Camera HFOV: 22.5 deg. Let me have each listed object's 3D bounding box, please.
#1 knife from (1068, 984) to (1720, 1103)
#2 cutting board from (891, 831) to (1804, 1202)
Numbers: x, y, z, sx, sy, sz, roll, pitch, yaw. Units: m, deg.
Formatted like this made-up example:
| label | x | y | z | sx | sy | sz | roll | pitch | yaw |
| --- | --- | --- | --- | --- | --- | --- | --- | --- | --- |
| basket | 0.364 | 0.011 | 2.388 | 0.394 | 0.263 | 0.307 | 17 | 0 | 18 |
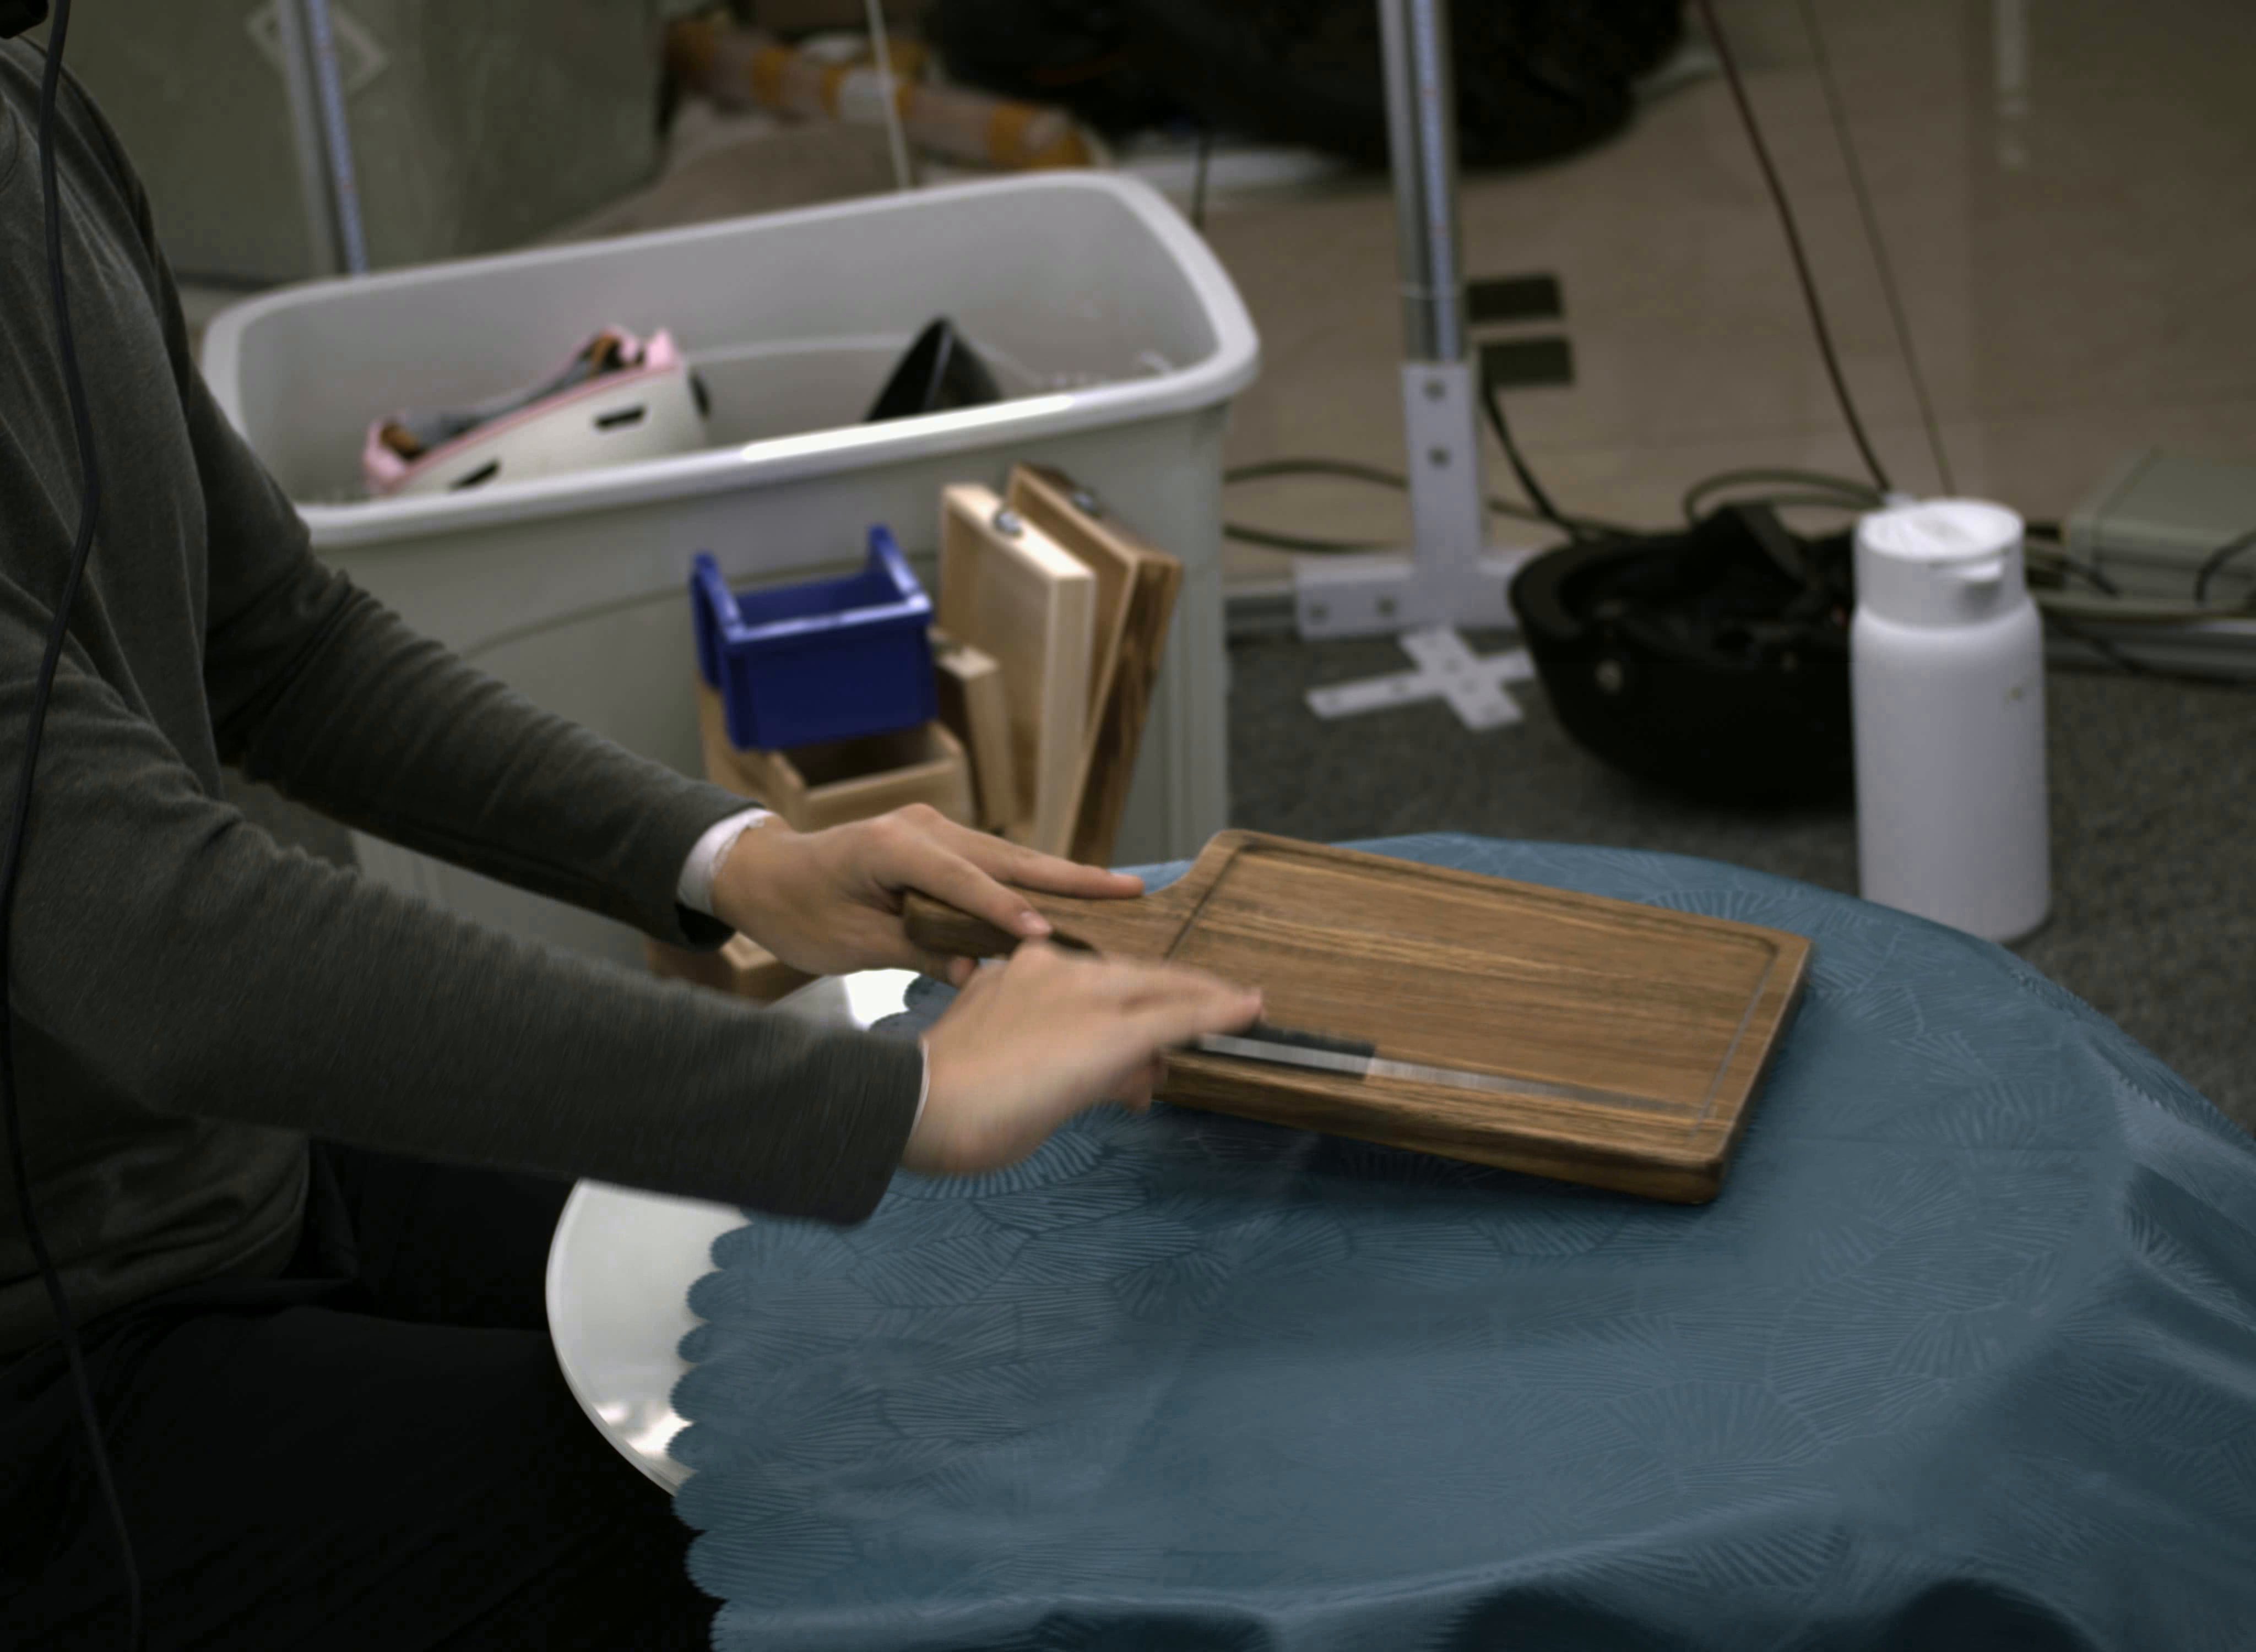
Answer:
| label | x | y | z | sx | sy | sz | roll | pitch | yaw |
| --- | --- | --- | --- | --- | --- | --- | --- | --- | --- |
| knife | 0.094 | 0.081 | 2.038 | 0.237 | 0.016 | 0.024 | 8 | 12 | 6 |
| cutting board | 0.076 | 0.062 | 2.209 | 0.351 | 0.023 | 0.198 | 10 | 28 | 14 |
